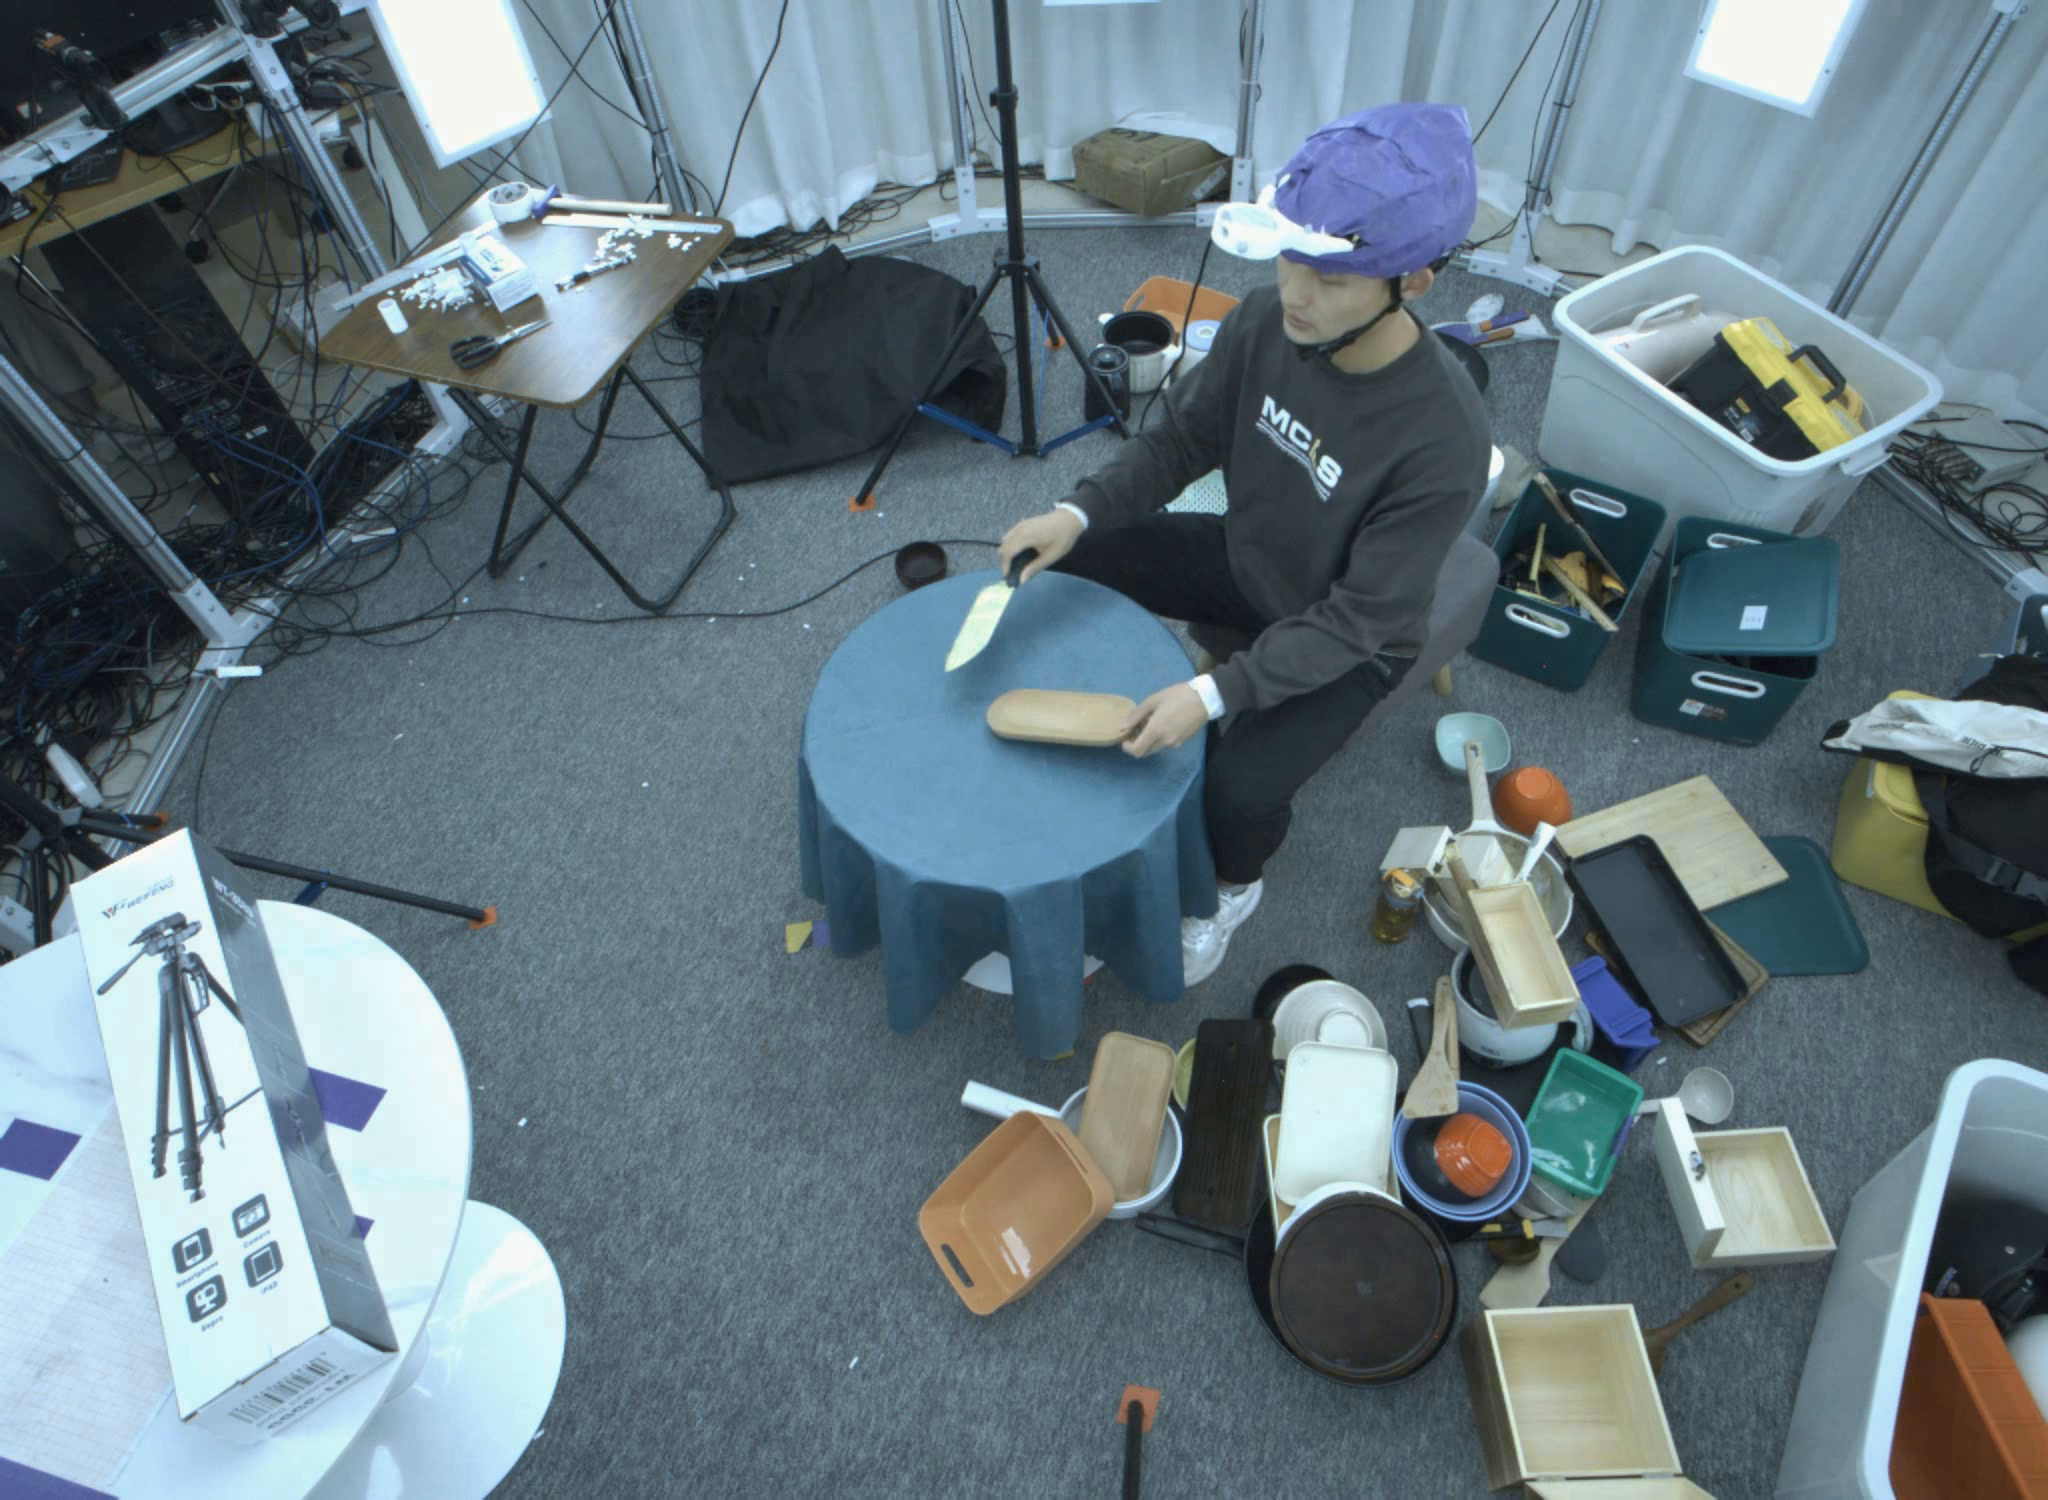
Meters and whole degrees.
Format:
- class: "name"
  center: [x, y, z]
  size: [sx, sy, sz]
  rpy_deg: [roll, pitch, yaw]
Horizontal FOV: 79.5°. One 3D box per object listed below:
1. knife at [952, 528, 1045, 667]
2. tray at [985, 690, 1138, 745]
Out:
- class: "knife"
  center: [-0.038, -0.233, 1.868]
  size: [0.079, 0.028, 0.289]
  rpy_deg: [-3, 49, 42]
- class: "tray"
  center: [0.053, -0.048, 1.787]
  size: [0.228, 0.020, 0.101]
  rpy_deg: [4, 41, 21]
